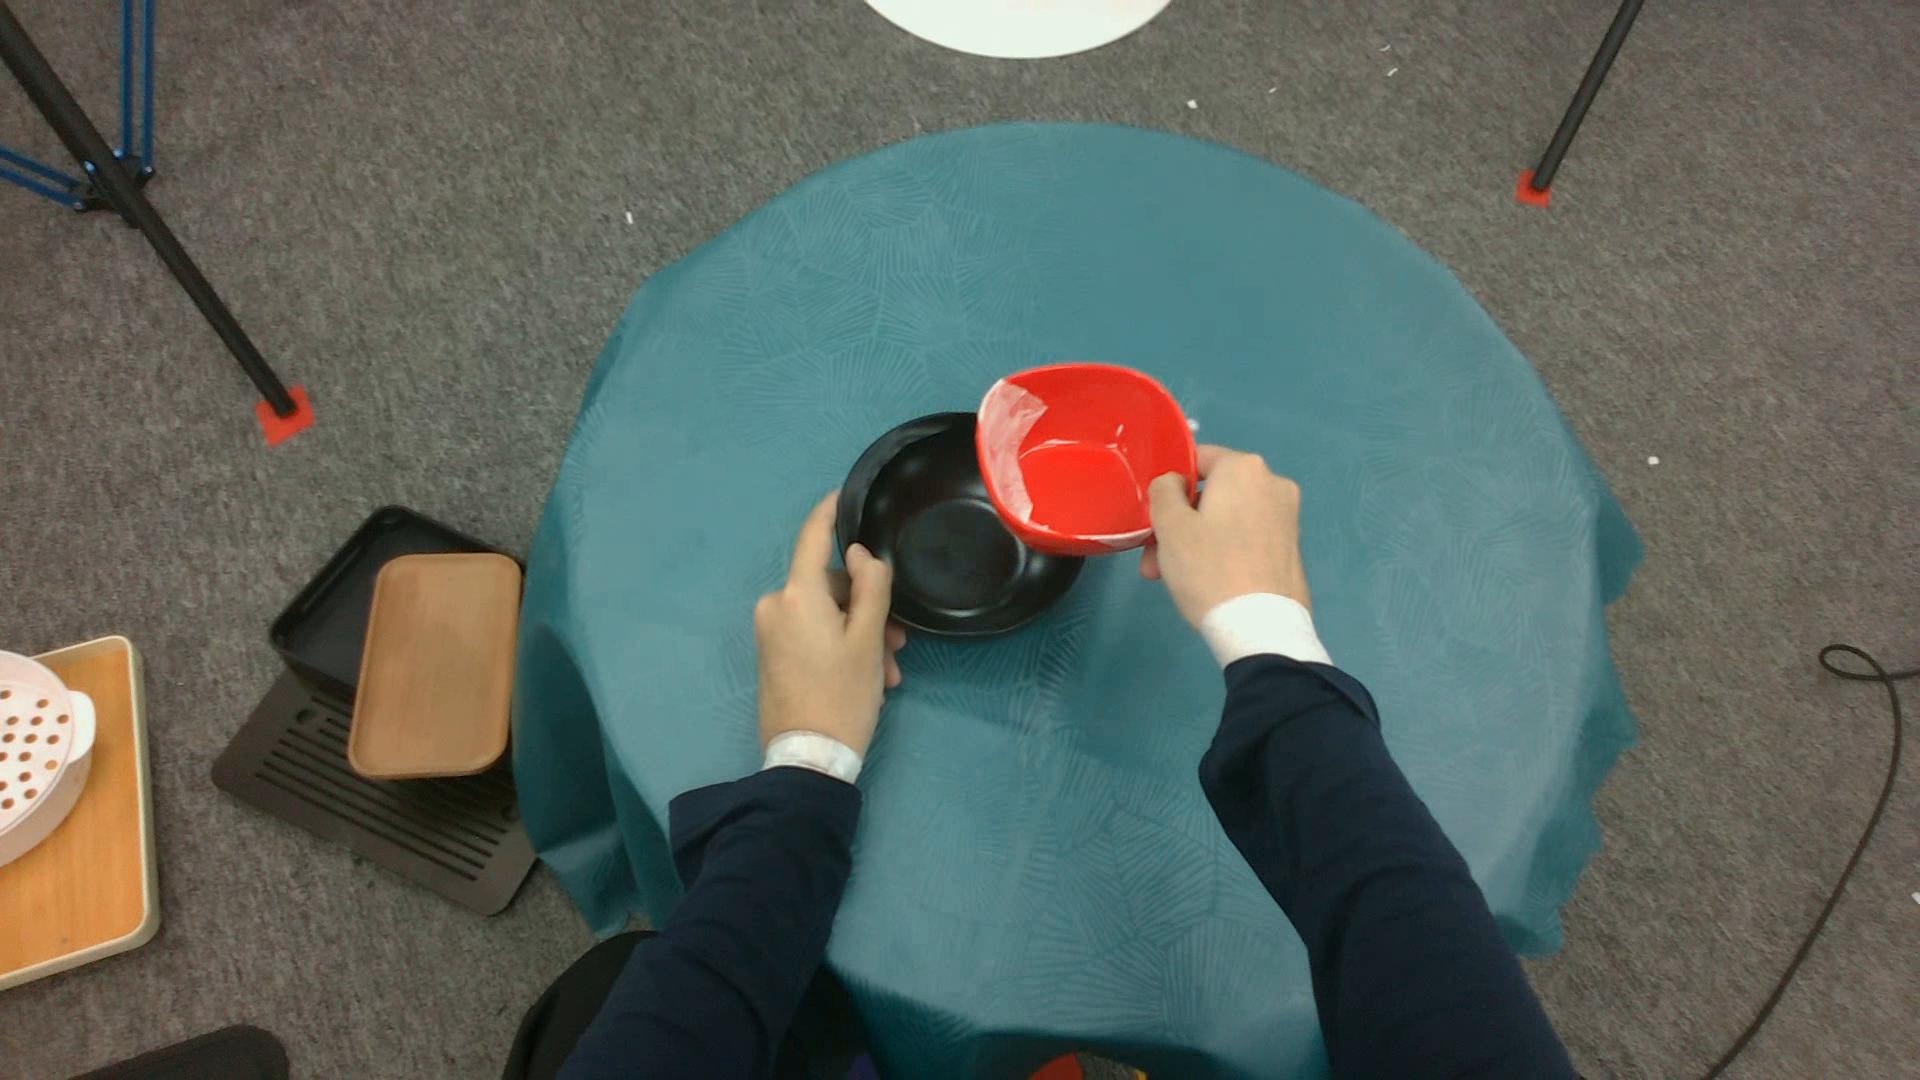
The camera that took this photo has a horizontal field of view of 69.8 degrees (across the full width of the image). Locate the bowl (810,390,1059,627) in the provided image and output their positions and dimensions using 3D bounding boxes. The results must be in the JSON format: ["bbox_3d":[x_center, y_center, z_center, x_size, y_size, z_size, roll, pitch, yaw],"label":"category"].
[{"bbox_3d":[-0.013,-0.011,0.762,0.140,0.049,0.140,1,66,-3],"label":"bowl"}]

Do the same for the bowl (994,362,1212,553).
[{"bbox_3d":[0.068,-0.035,0.709,0.119,0.051,0.119,6,53,-7],"label":"bowl"}]
